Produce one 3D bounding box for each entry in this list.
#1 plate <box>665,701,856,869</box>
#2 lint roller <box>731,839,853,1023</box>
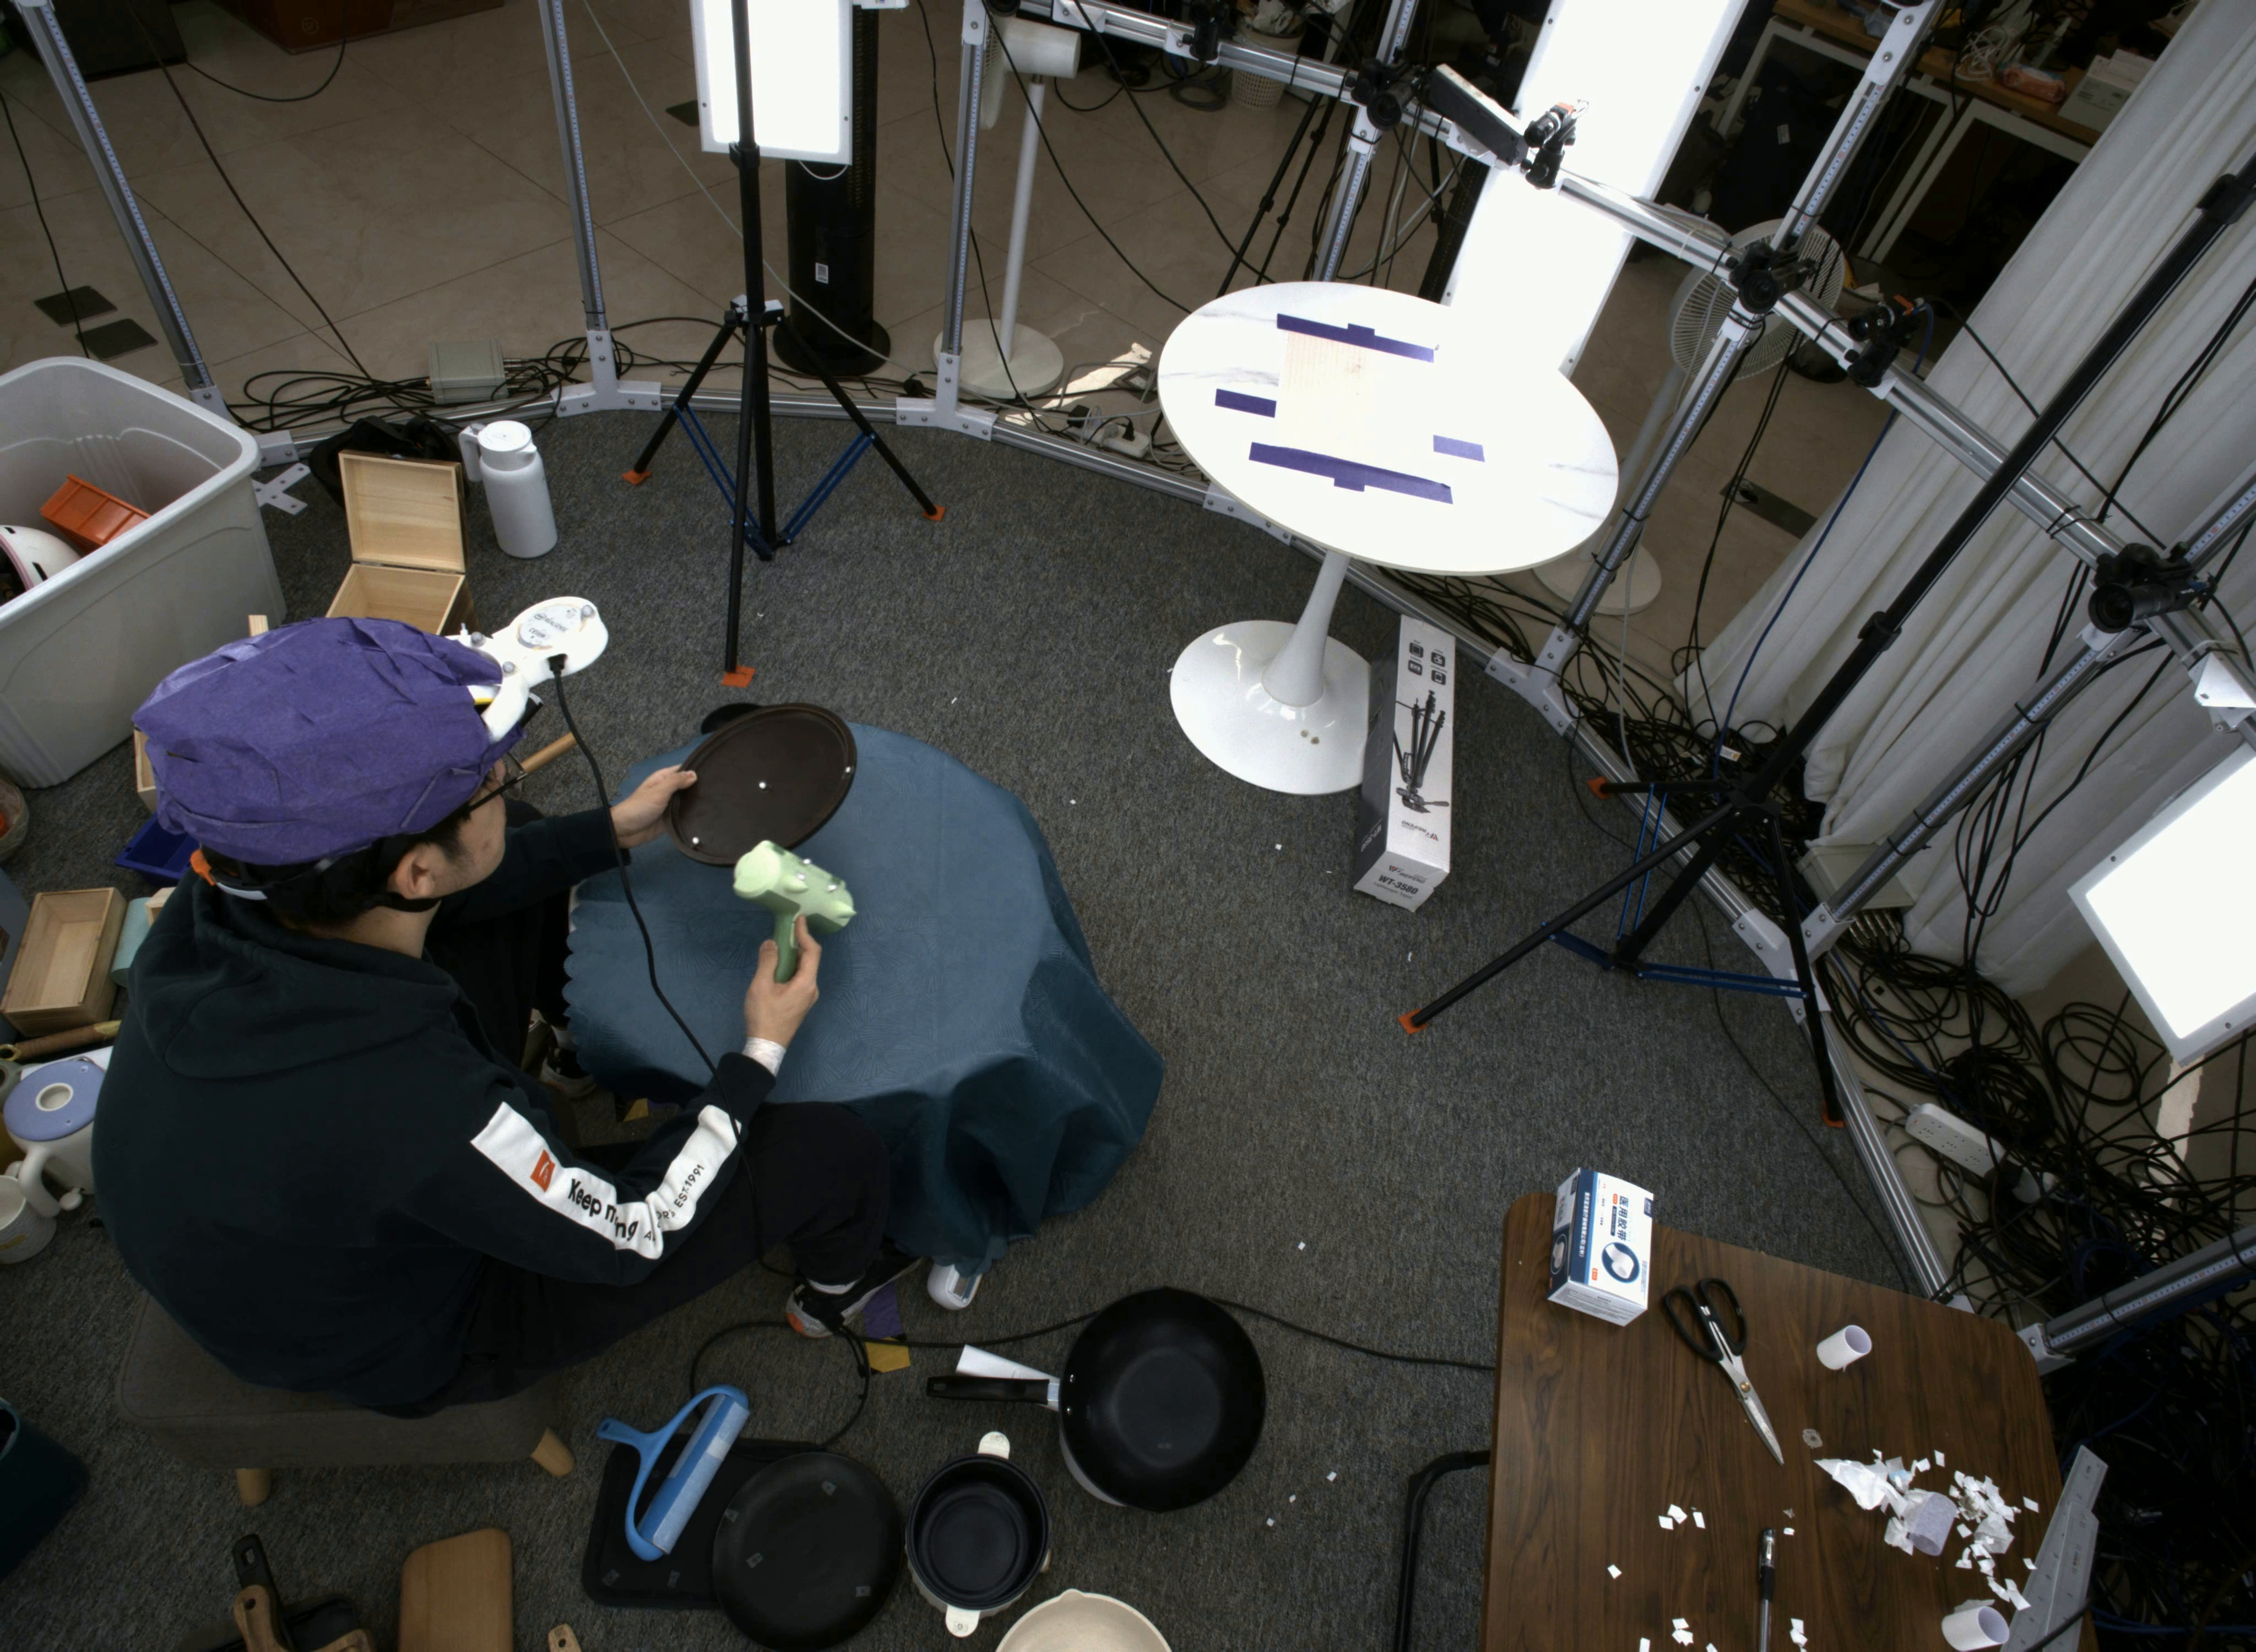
[{"bbox_3d":[-0.446,-0.053,1.572,0.250,0.030,0.250,-6,53,10],"label":"plate"},{"bbox_3d":[-0.381,0.128,1.485,0.080,0.204,0.182,-6,72,13],"label":"lint roller"}]
